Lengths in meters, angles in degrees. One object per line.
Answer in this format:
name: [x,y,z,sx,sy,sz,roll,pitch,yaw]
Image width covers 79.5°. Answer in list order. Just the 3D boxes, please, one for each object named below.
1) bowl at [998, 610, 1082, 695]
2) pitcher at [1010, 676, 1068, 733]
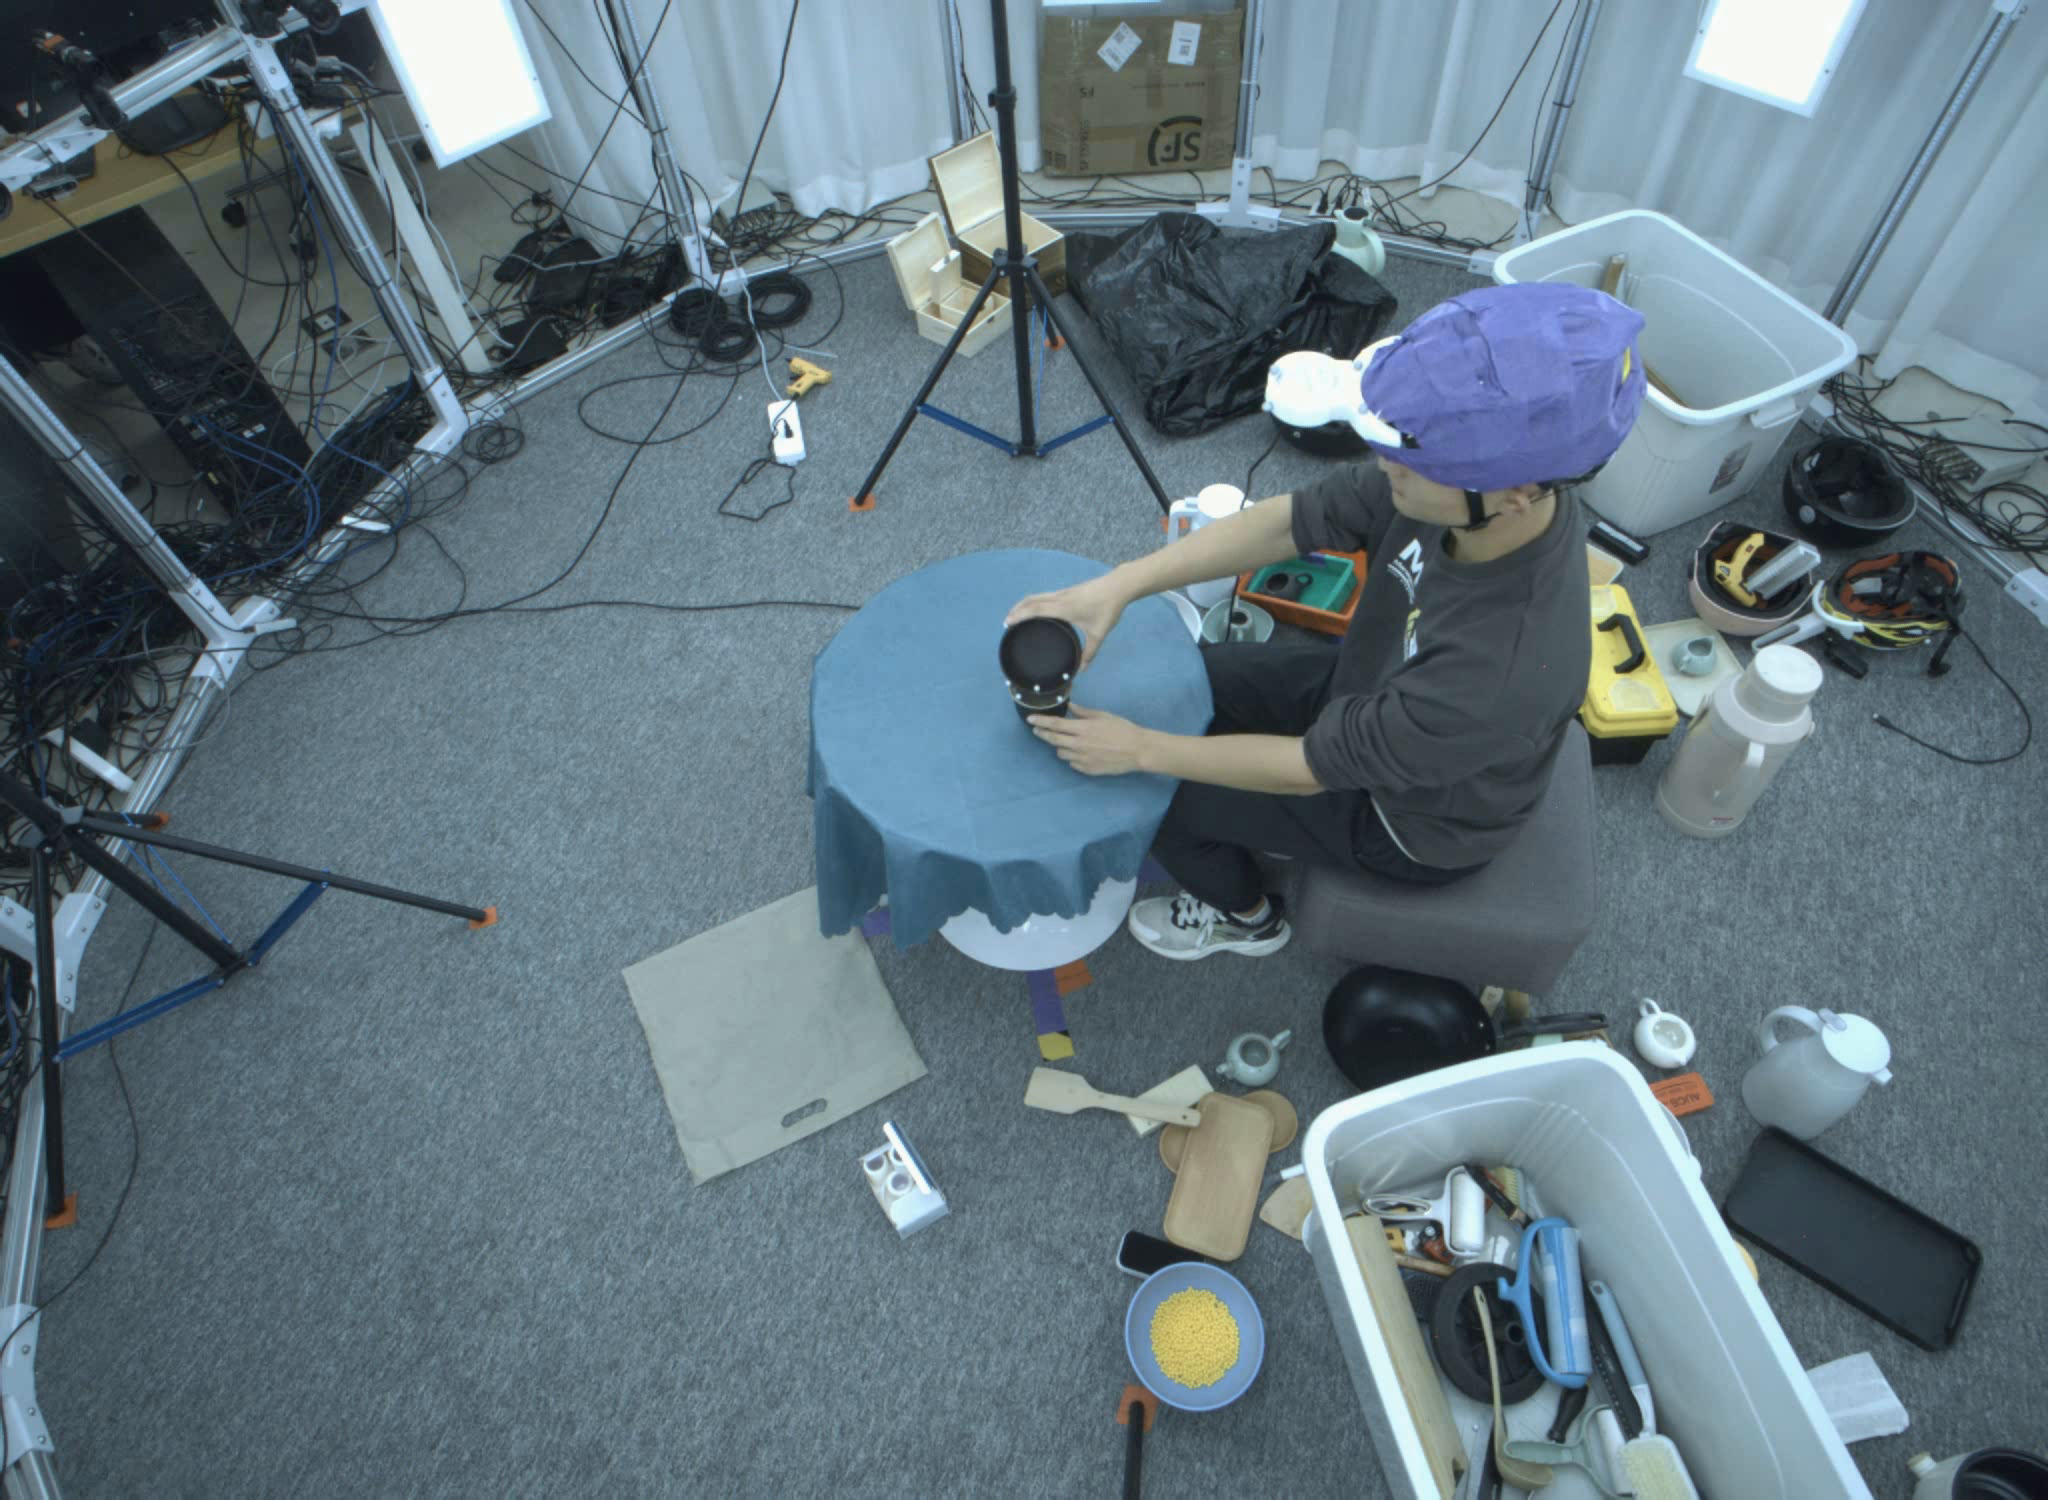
bowl: [0.024,-0.143,1.746,0.118,0.119,0.069,2,21,4]
pitcher: [0.025,-0.069,1.786,0.082,0.072,0.096,11,45,19]
